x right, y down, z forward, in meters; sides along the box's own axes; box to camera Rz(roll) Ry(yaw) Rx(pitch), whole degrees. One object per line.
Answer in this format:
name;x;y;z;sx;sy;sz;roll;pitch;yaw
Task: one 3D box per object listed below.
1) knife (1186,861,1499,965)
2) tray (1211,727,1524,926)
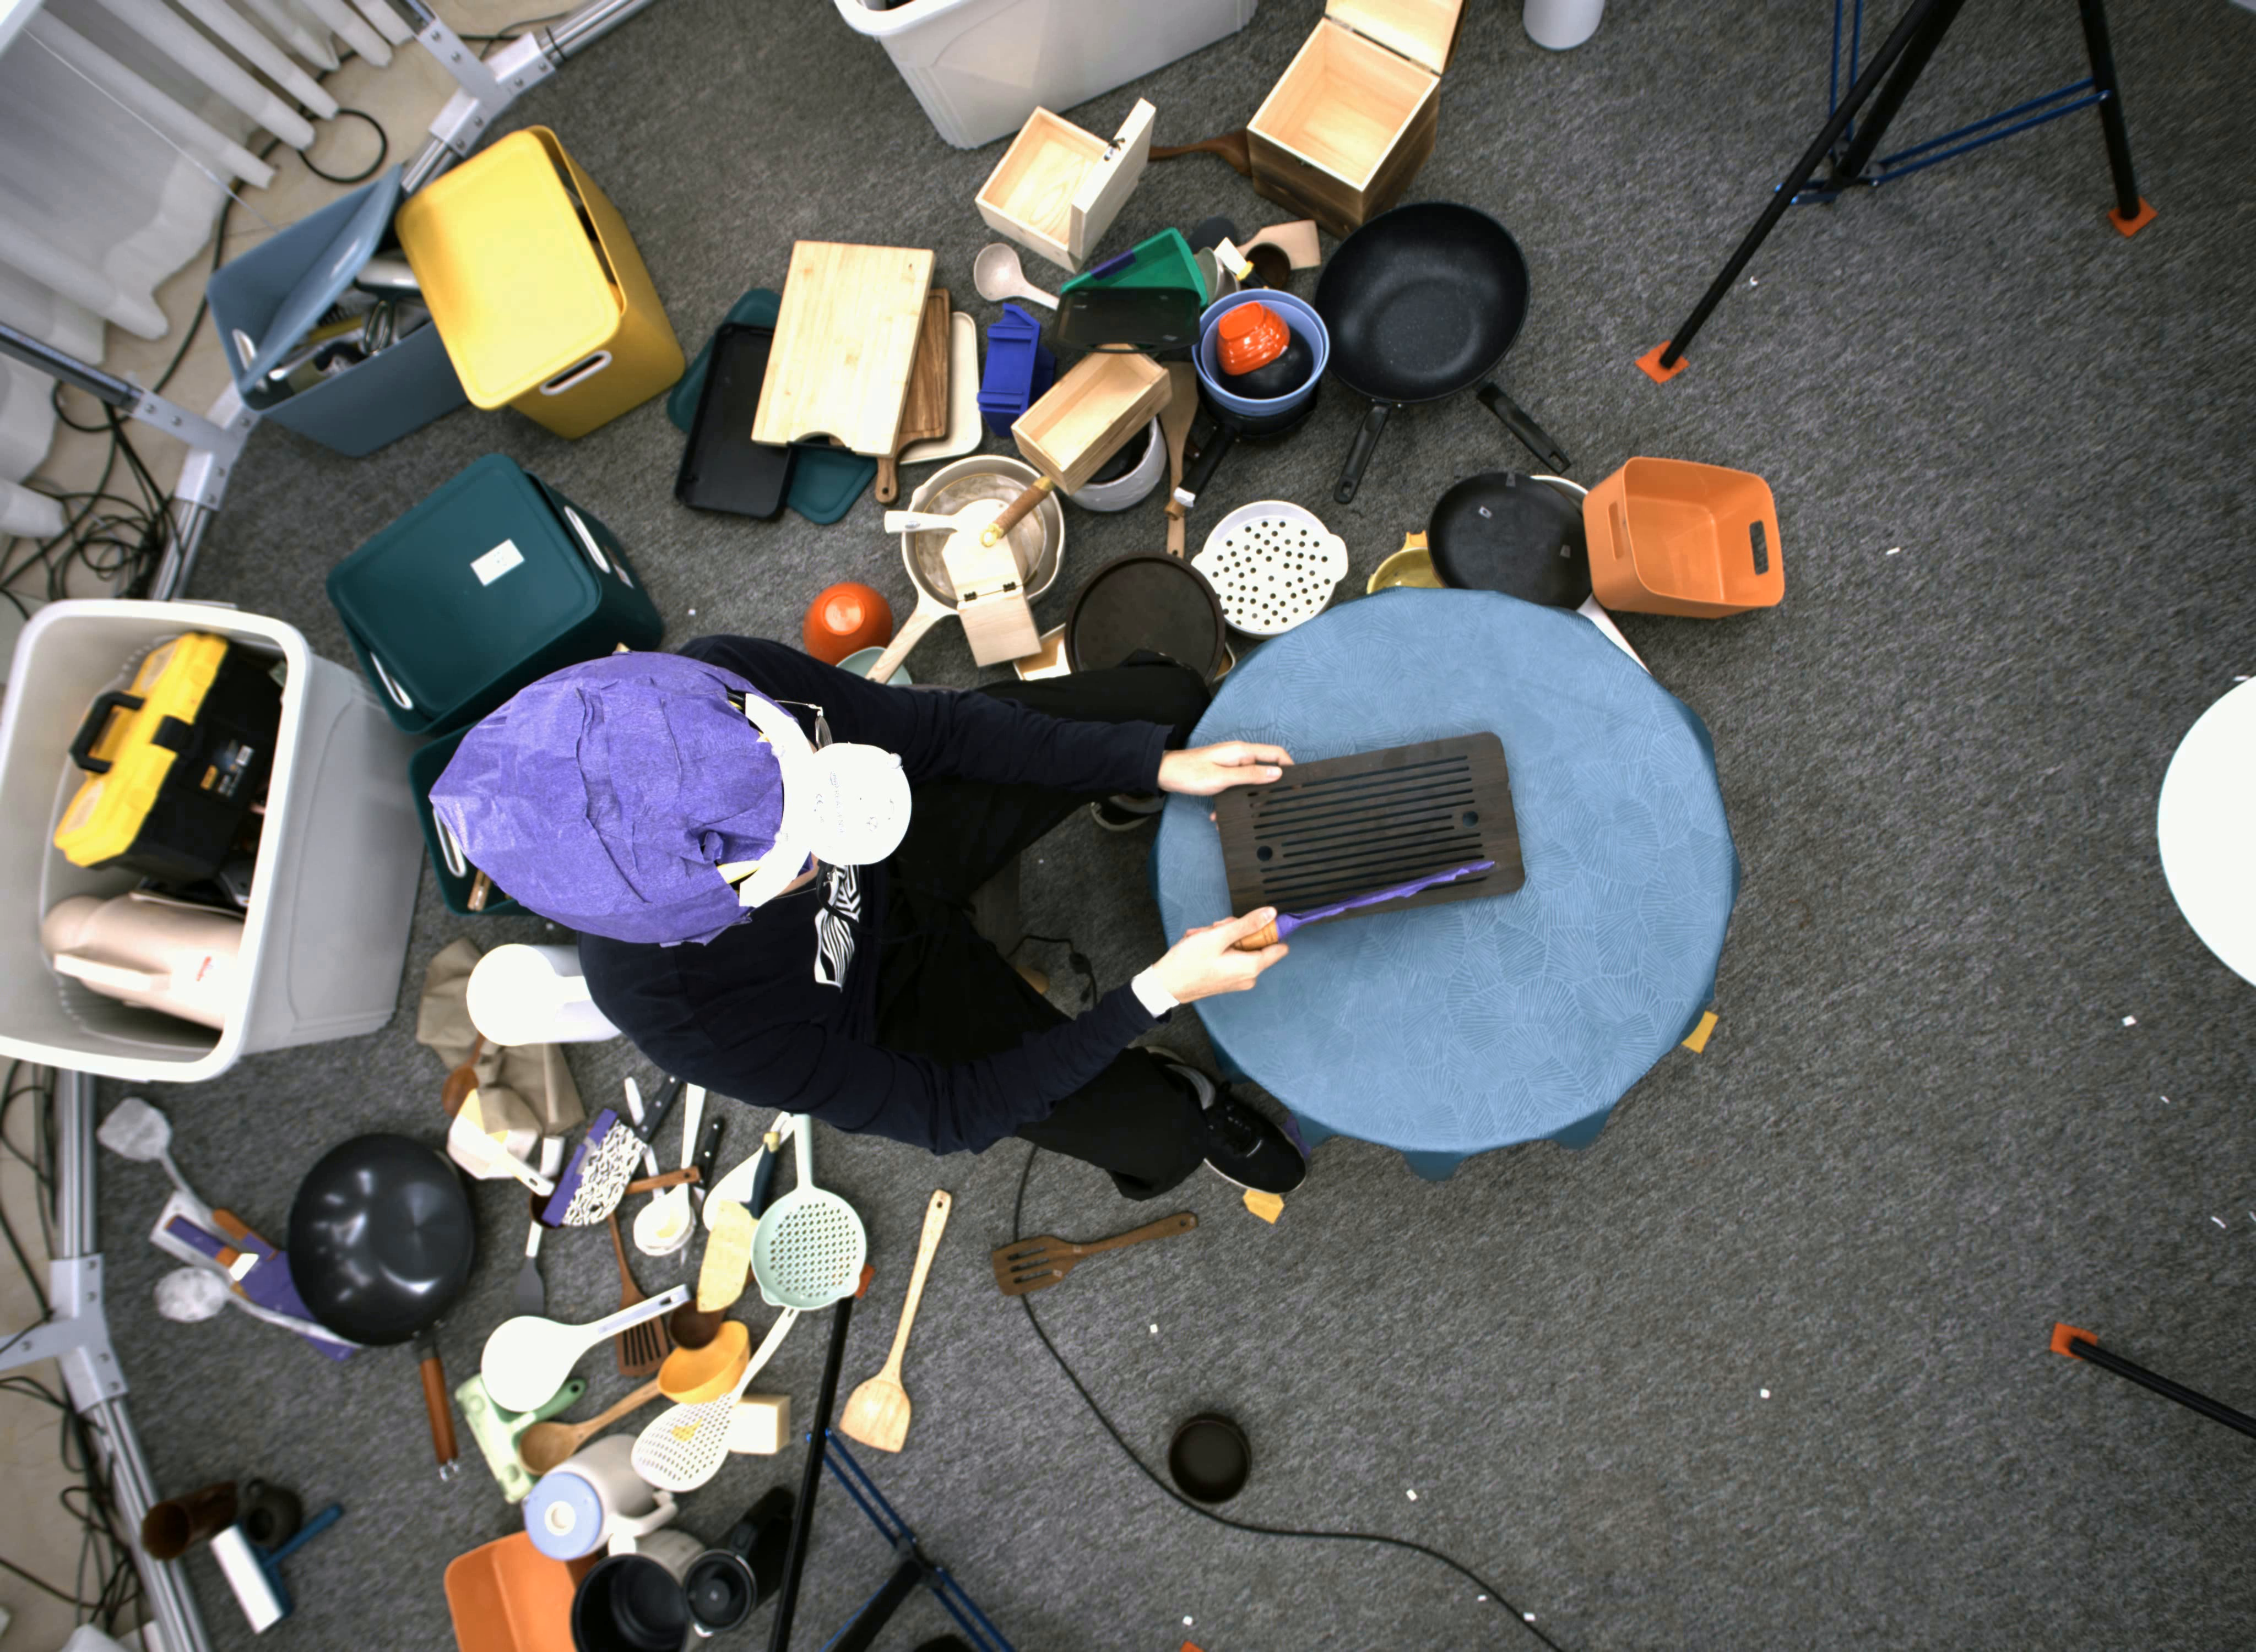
knife;0.214;0.084;1.390;0.316;0.104;0.032;-15;87;6
tray;0.249;0.004;1.443;0.307;0.018;0.170;-10;92;8
